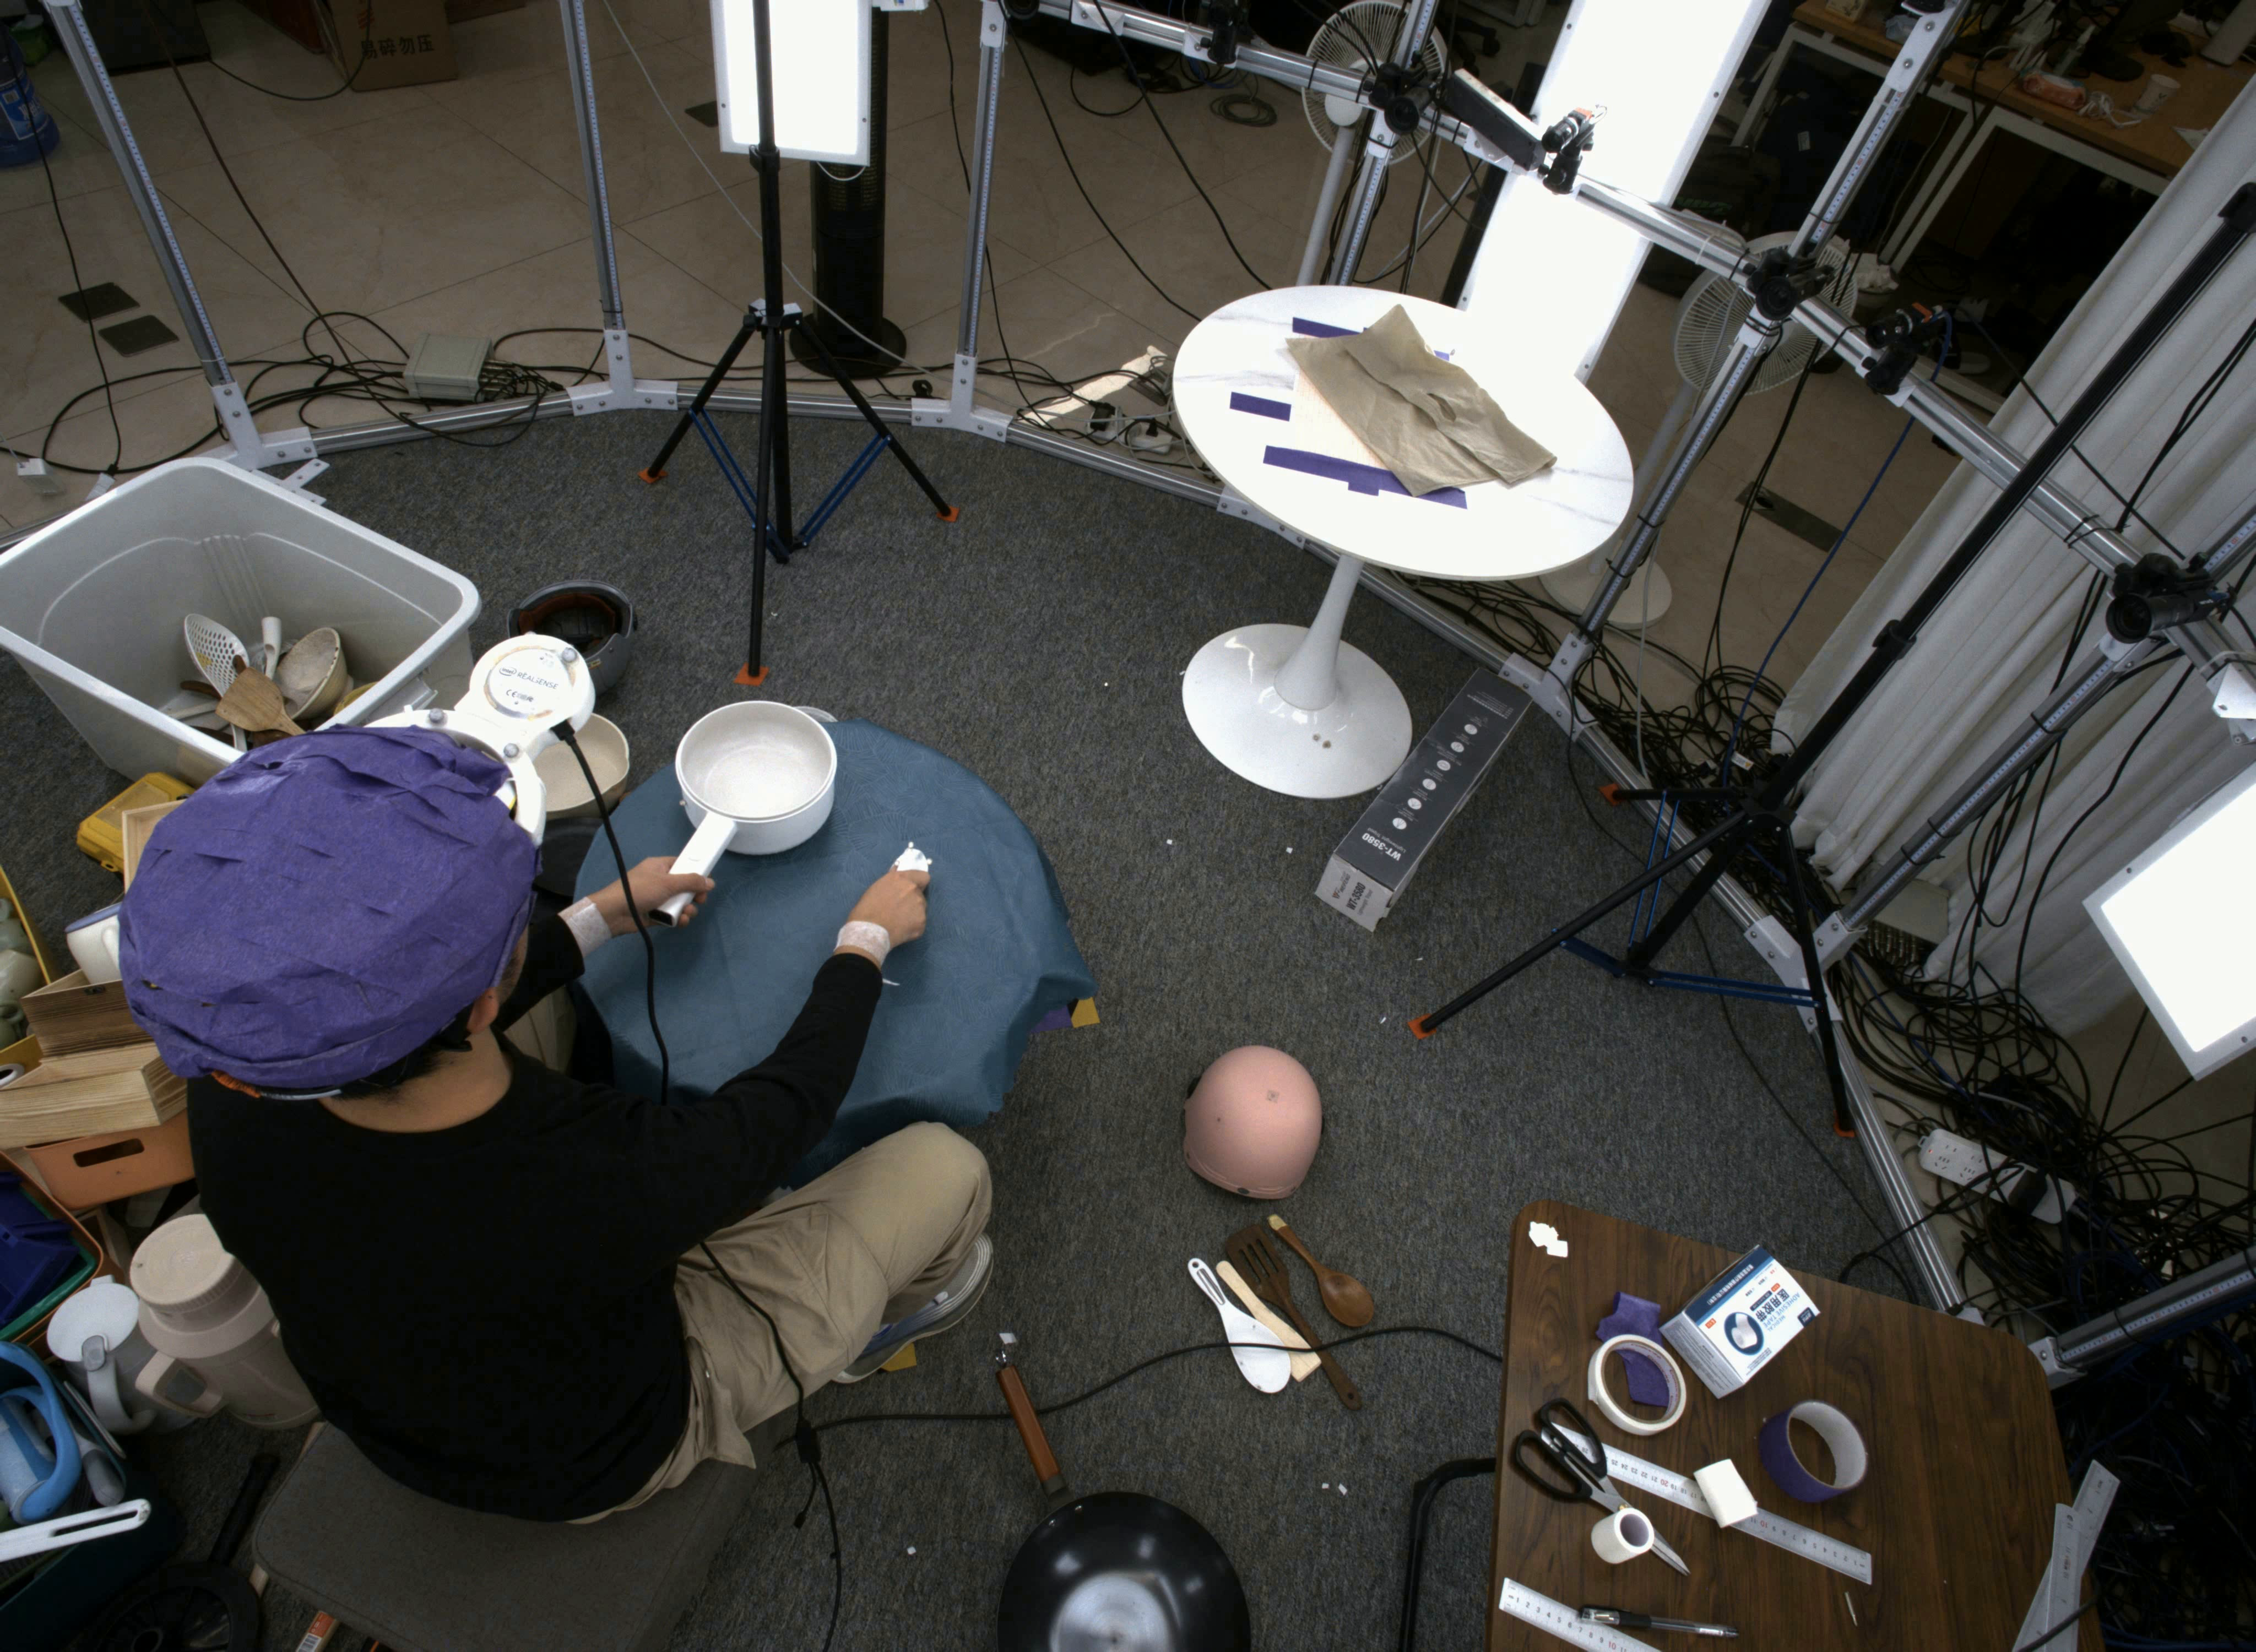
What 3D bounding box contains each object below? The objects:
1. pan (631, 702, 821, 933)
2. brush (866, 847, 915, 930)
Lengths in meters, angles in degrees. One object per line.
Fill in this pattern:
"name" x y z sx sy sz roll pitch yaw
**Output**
"pan" -0.521 0.002 1.631 0.200 0.104 0.351 20 52 -1
"brush" -0.300 0.070 1.651 0.050 0.074 0.098 16 51 -3
